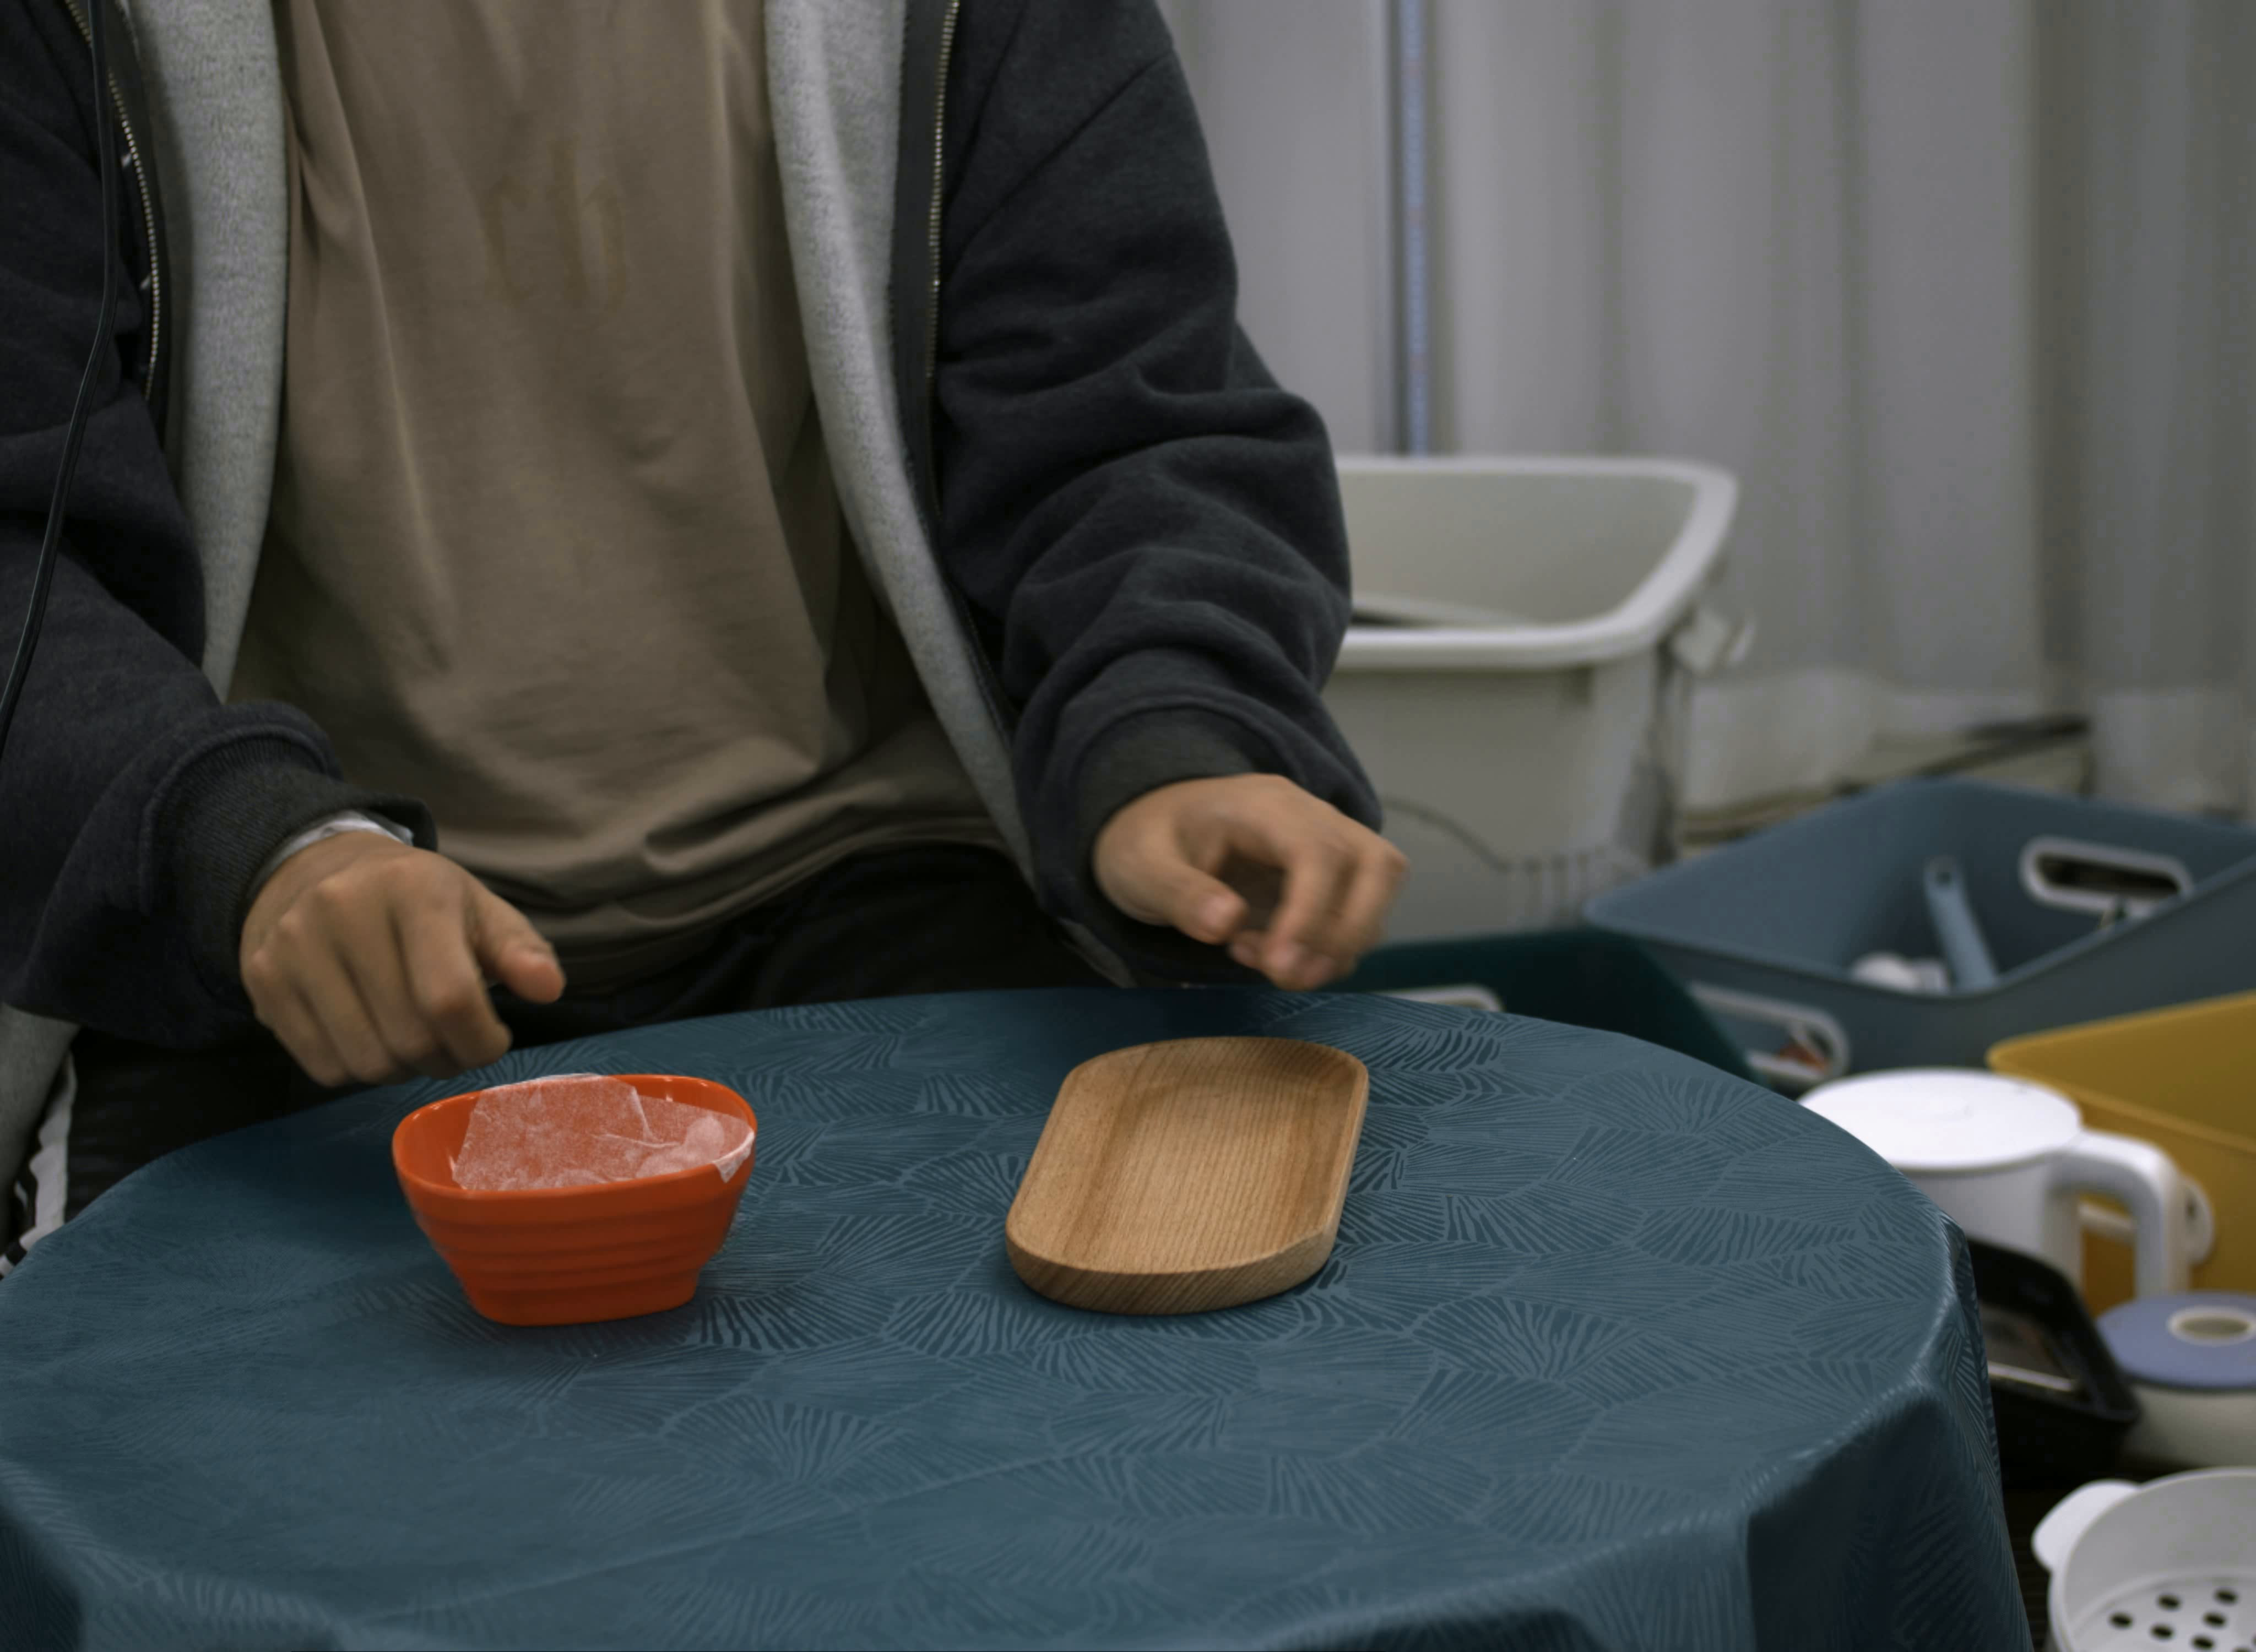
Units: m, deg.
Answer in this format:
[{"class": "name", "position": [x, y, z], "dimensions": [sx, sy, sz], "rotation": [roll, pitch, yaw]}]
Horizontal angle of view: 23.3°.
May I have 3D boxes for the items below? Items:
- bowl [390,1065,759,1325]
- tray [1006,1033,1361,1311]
[{"class": "bowl", "position": [-0.165, 0.114, 1.649], "dimensions": [0.118, 0.051, 0.120], "rotation": [-3, 16, 1]}, {"class": "tray", "position": [0.020, 0.106, 1.713], "dimensions": [0.101, 0.020, 0.232], "rotation": [0, 14, 6]}]
